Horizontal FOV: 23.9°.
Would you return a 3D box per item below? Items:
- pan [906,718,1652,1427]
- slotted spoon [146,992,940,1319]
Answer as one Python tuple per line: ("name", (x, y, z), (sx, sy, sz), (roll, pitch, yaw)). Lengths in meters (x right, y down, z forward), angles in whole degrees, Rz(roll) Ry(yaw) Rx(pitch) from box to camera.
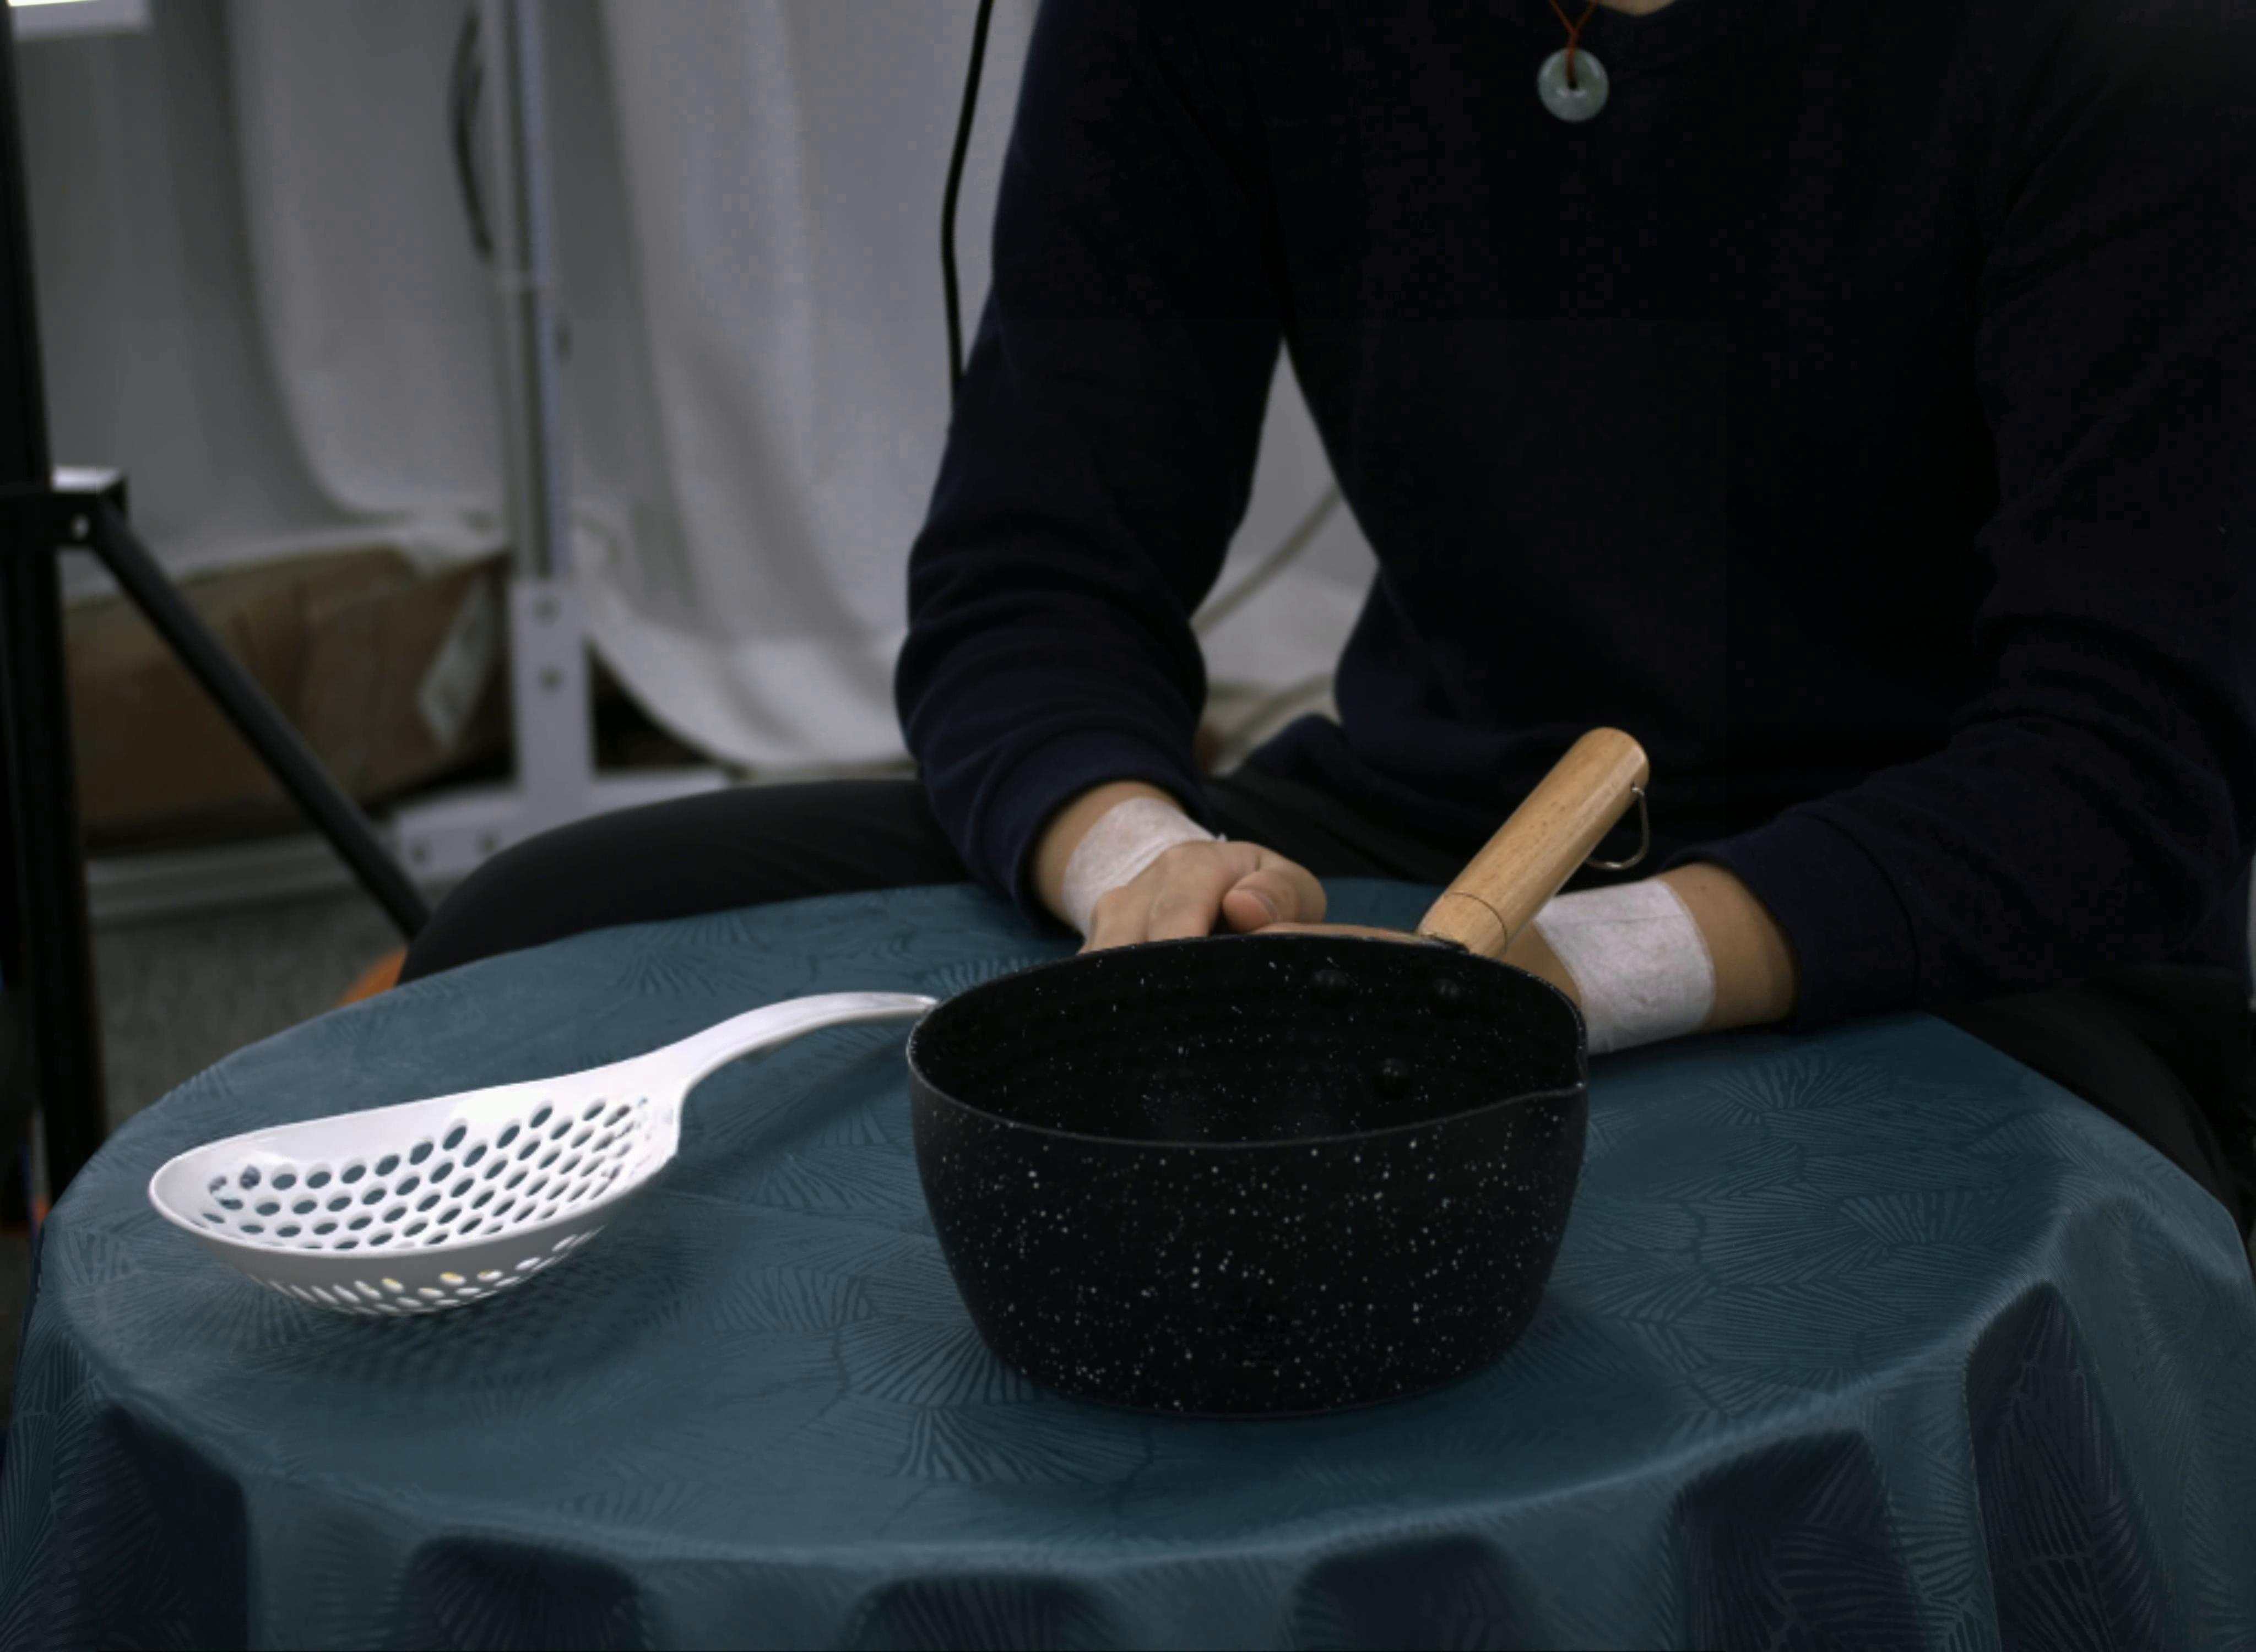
("pan", (0.070, 0.064, 1.502), (0.211, 0.108, 0.337), (5, 18, 28))
("slotted spoon", (-0.147, 0.085, 1.585), (0.139, 0.050, 0.342), (6, 19, 31))
